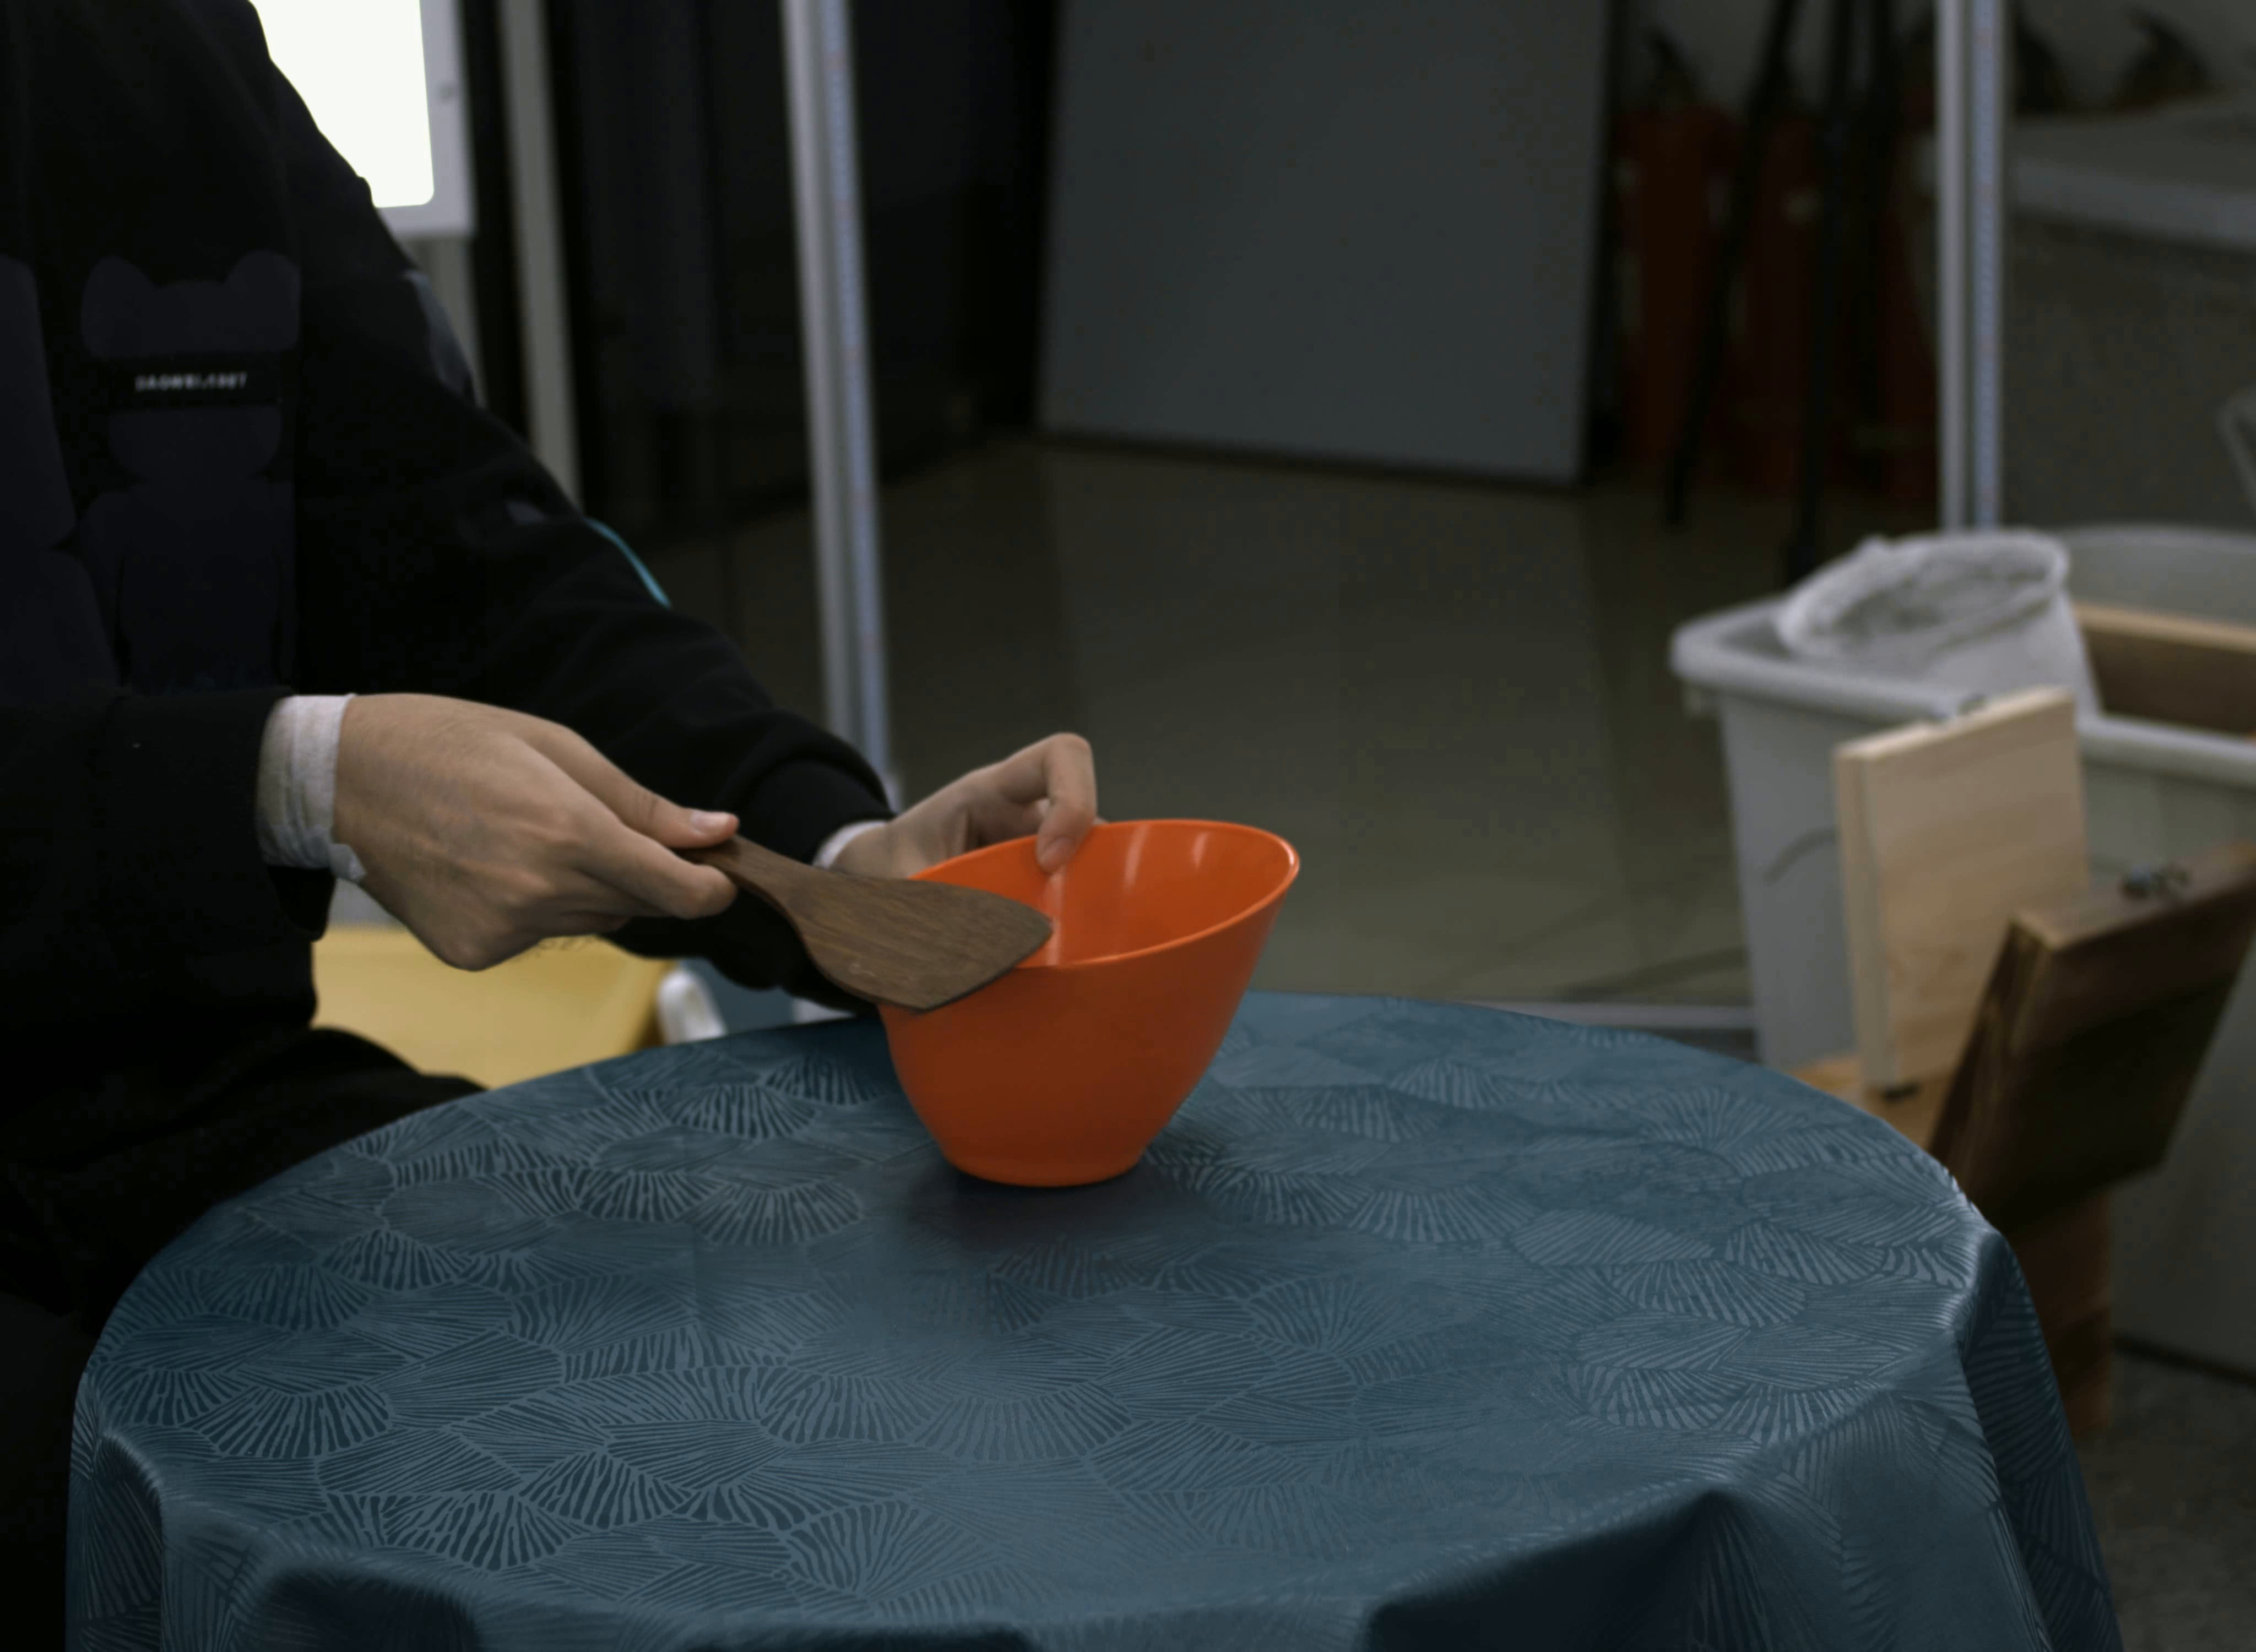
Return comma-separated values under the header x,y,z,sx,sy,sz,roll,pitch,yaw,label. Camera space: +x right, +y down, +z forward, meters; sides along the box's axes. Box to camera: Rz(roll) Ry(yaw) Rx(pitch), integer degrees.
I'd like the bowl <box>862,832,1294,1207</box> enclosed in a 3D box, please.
x,y,z,sx,sy,sz,roll,pitch,yaw,label
-0.017,0.066,1.787,0.146,0.106,0.148,-2,15,0,bowl

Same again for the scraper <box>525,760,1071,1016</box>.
x,y,z,sx,sy,sz,roll,pitch,yaw,label
-0.115,0.016,1.751,0.213,0.011,0.074,22,37,35,scraper
